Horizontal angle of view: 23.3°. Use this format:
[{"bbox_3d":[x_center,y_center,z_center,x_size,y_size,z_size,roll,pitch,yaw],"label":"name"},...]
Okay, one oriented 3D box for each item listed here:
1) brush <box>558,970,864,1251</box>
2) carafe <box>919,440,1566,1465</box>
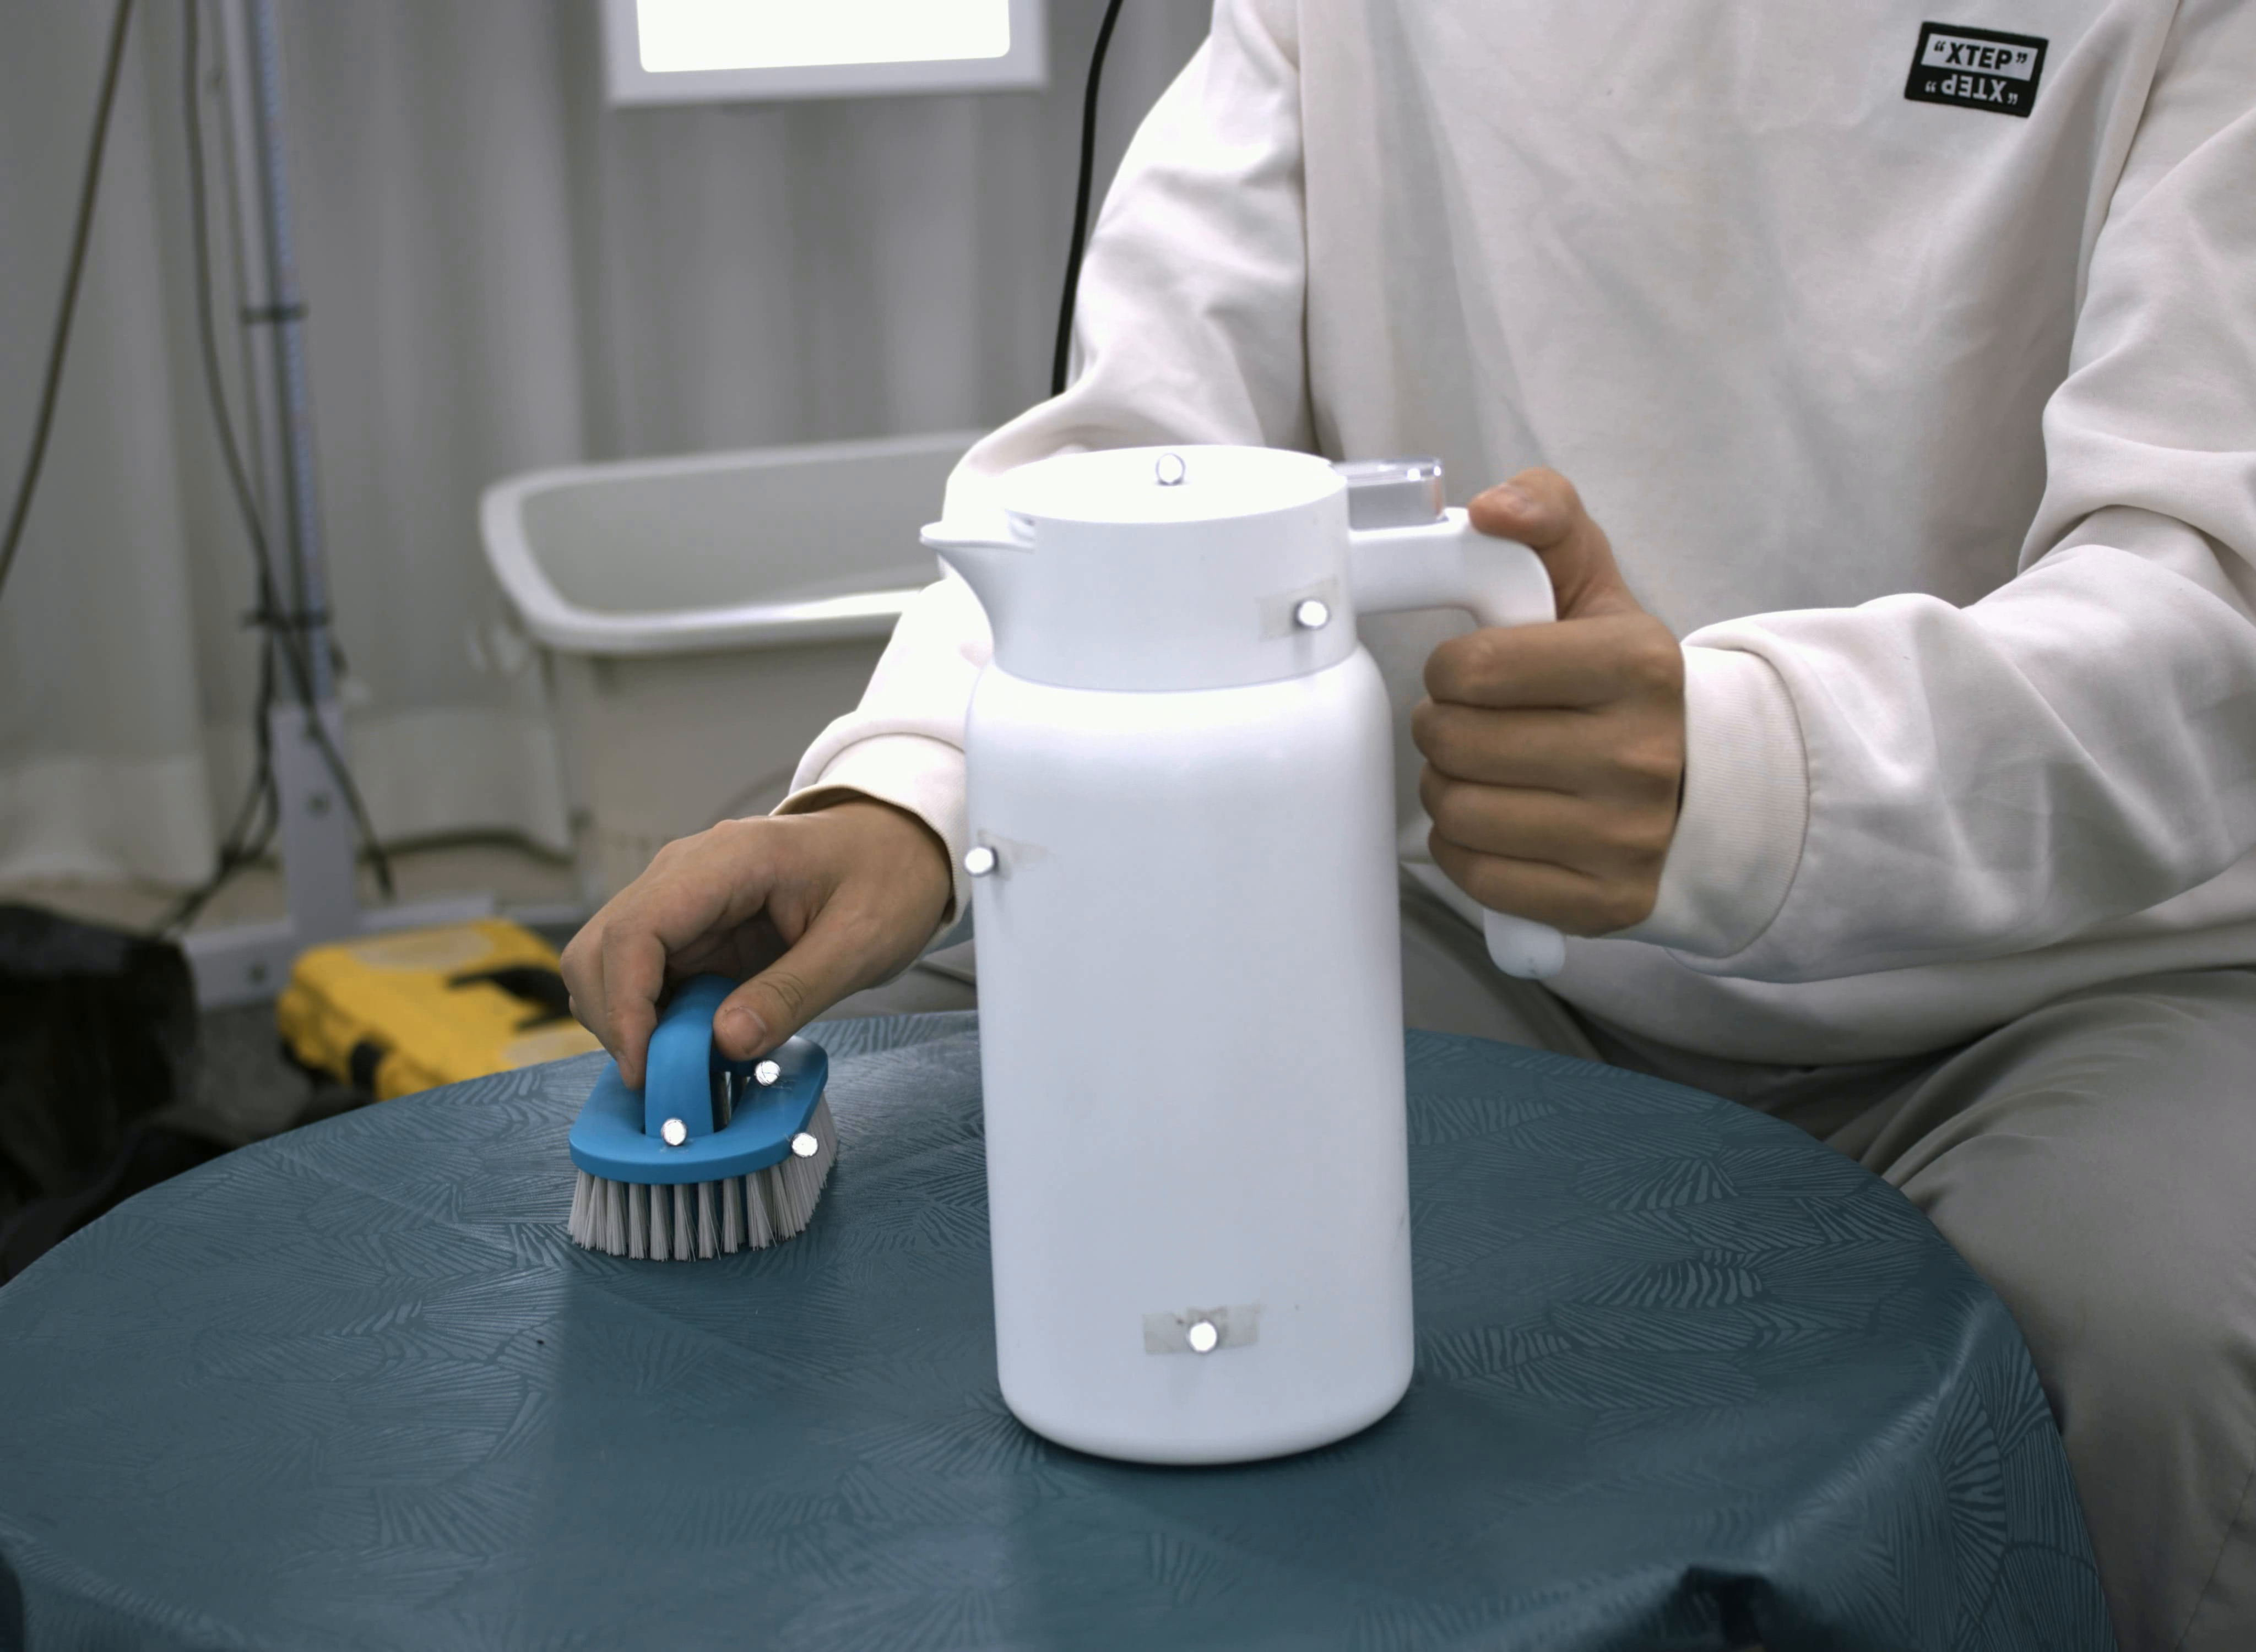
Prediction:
[{"bbox_3d":[-0.133,0.084,1.732,0.084,0.063,0.142,-6,13,9],"label":"brush"},{"bbox_3d":[0.034,0.032,1.508,0.172,0.268,0.124,-5,12,-8],"label":"carafe"}]
